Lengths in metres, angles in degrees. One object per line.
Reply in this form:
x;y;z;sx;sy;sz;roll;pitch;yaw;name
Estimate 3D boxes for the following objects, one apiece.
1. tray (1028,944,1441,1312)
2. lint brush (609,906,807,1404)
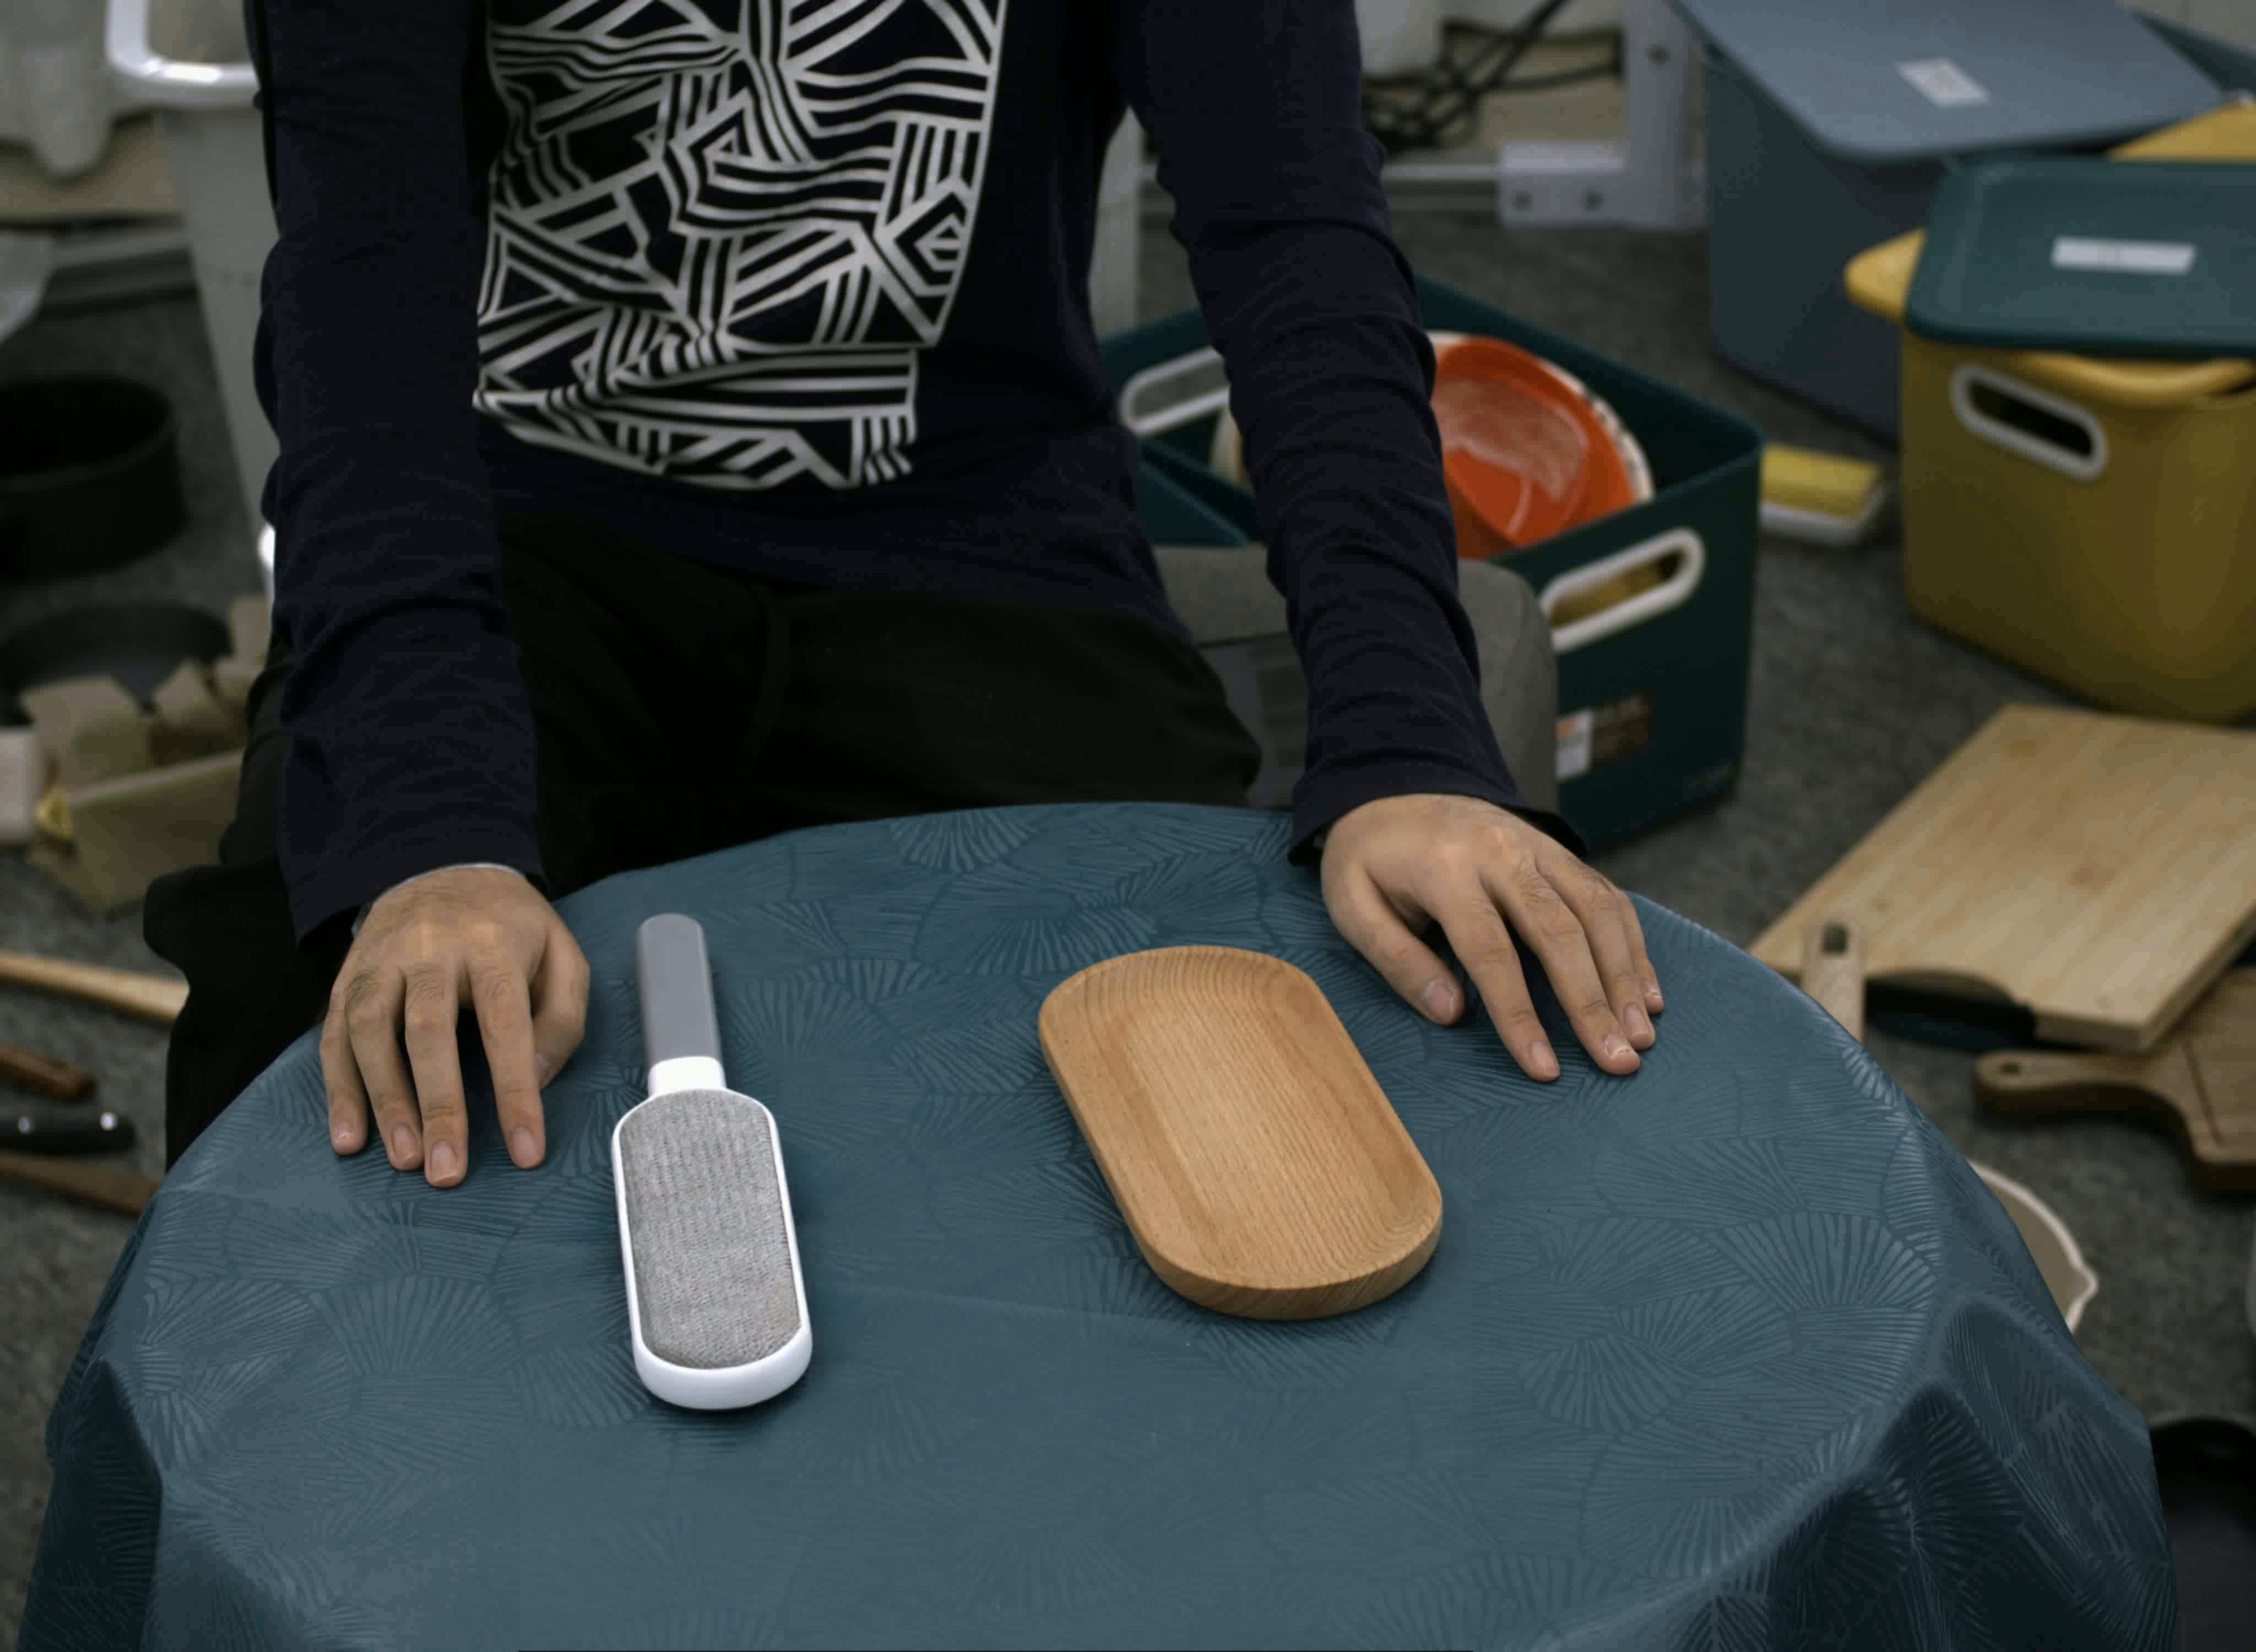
0.034;0.099;1.885;0.102;0.020;0.233;-8;26;-14;tray
-0.144;0.105;1.879;0.060;0.021;0.313;-10;28;-3;lint brush
